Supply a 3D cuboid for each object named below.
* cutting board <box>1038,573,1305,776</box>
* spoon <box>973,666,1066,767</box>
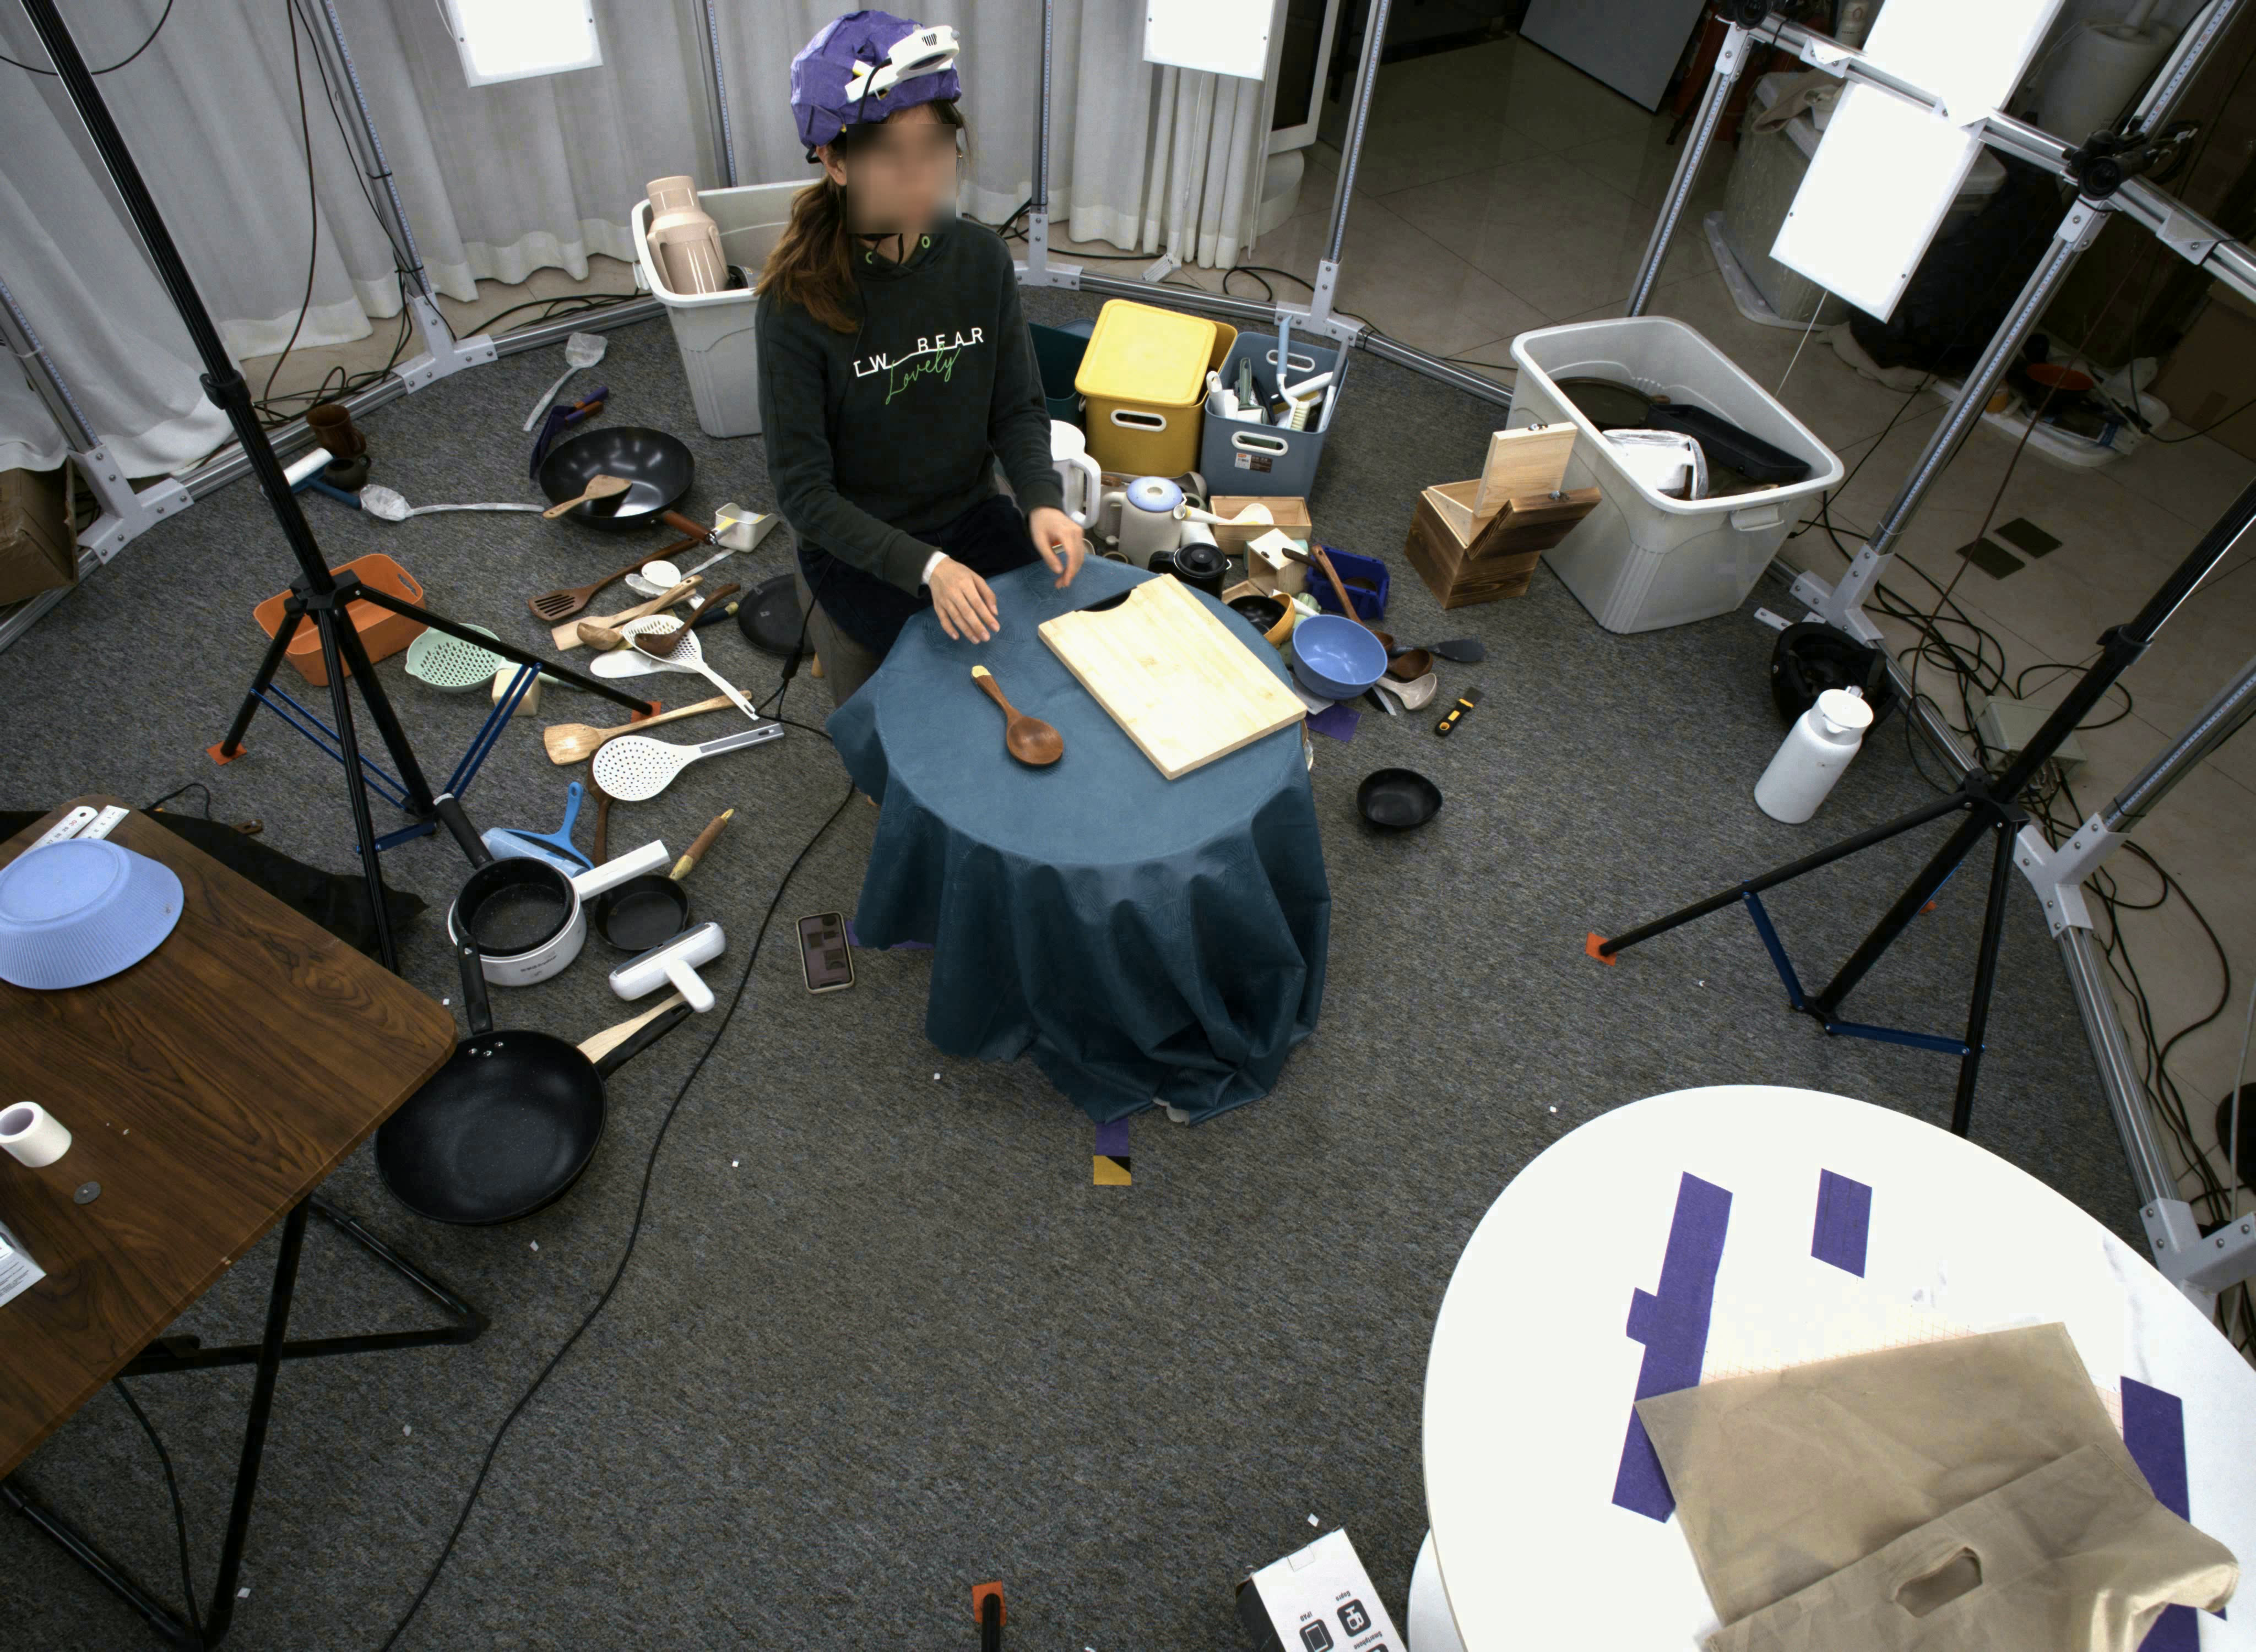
[{"bbox_3d":[0.058,-0.229,1.878,0.252,0.023,0.355,-25,55,-24],"label":"cutting board"},{"bbox_3d":[-0.158,-0.154,1.796,0.076,0.017,0.220,-24,55,-21],"label":"spoon"}]
